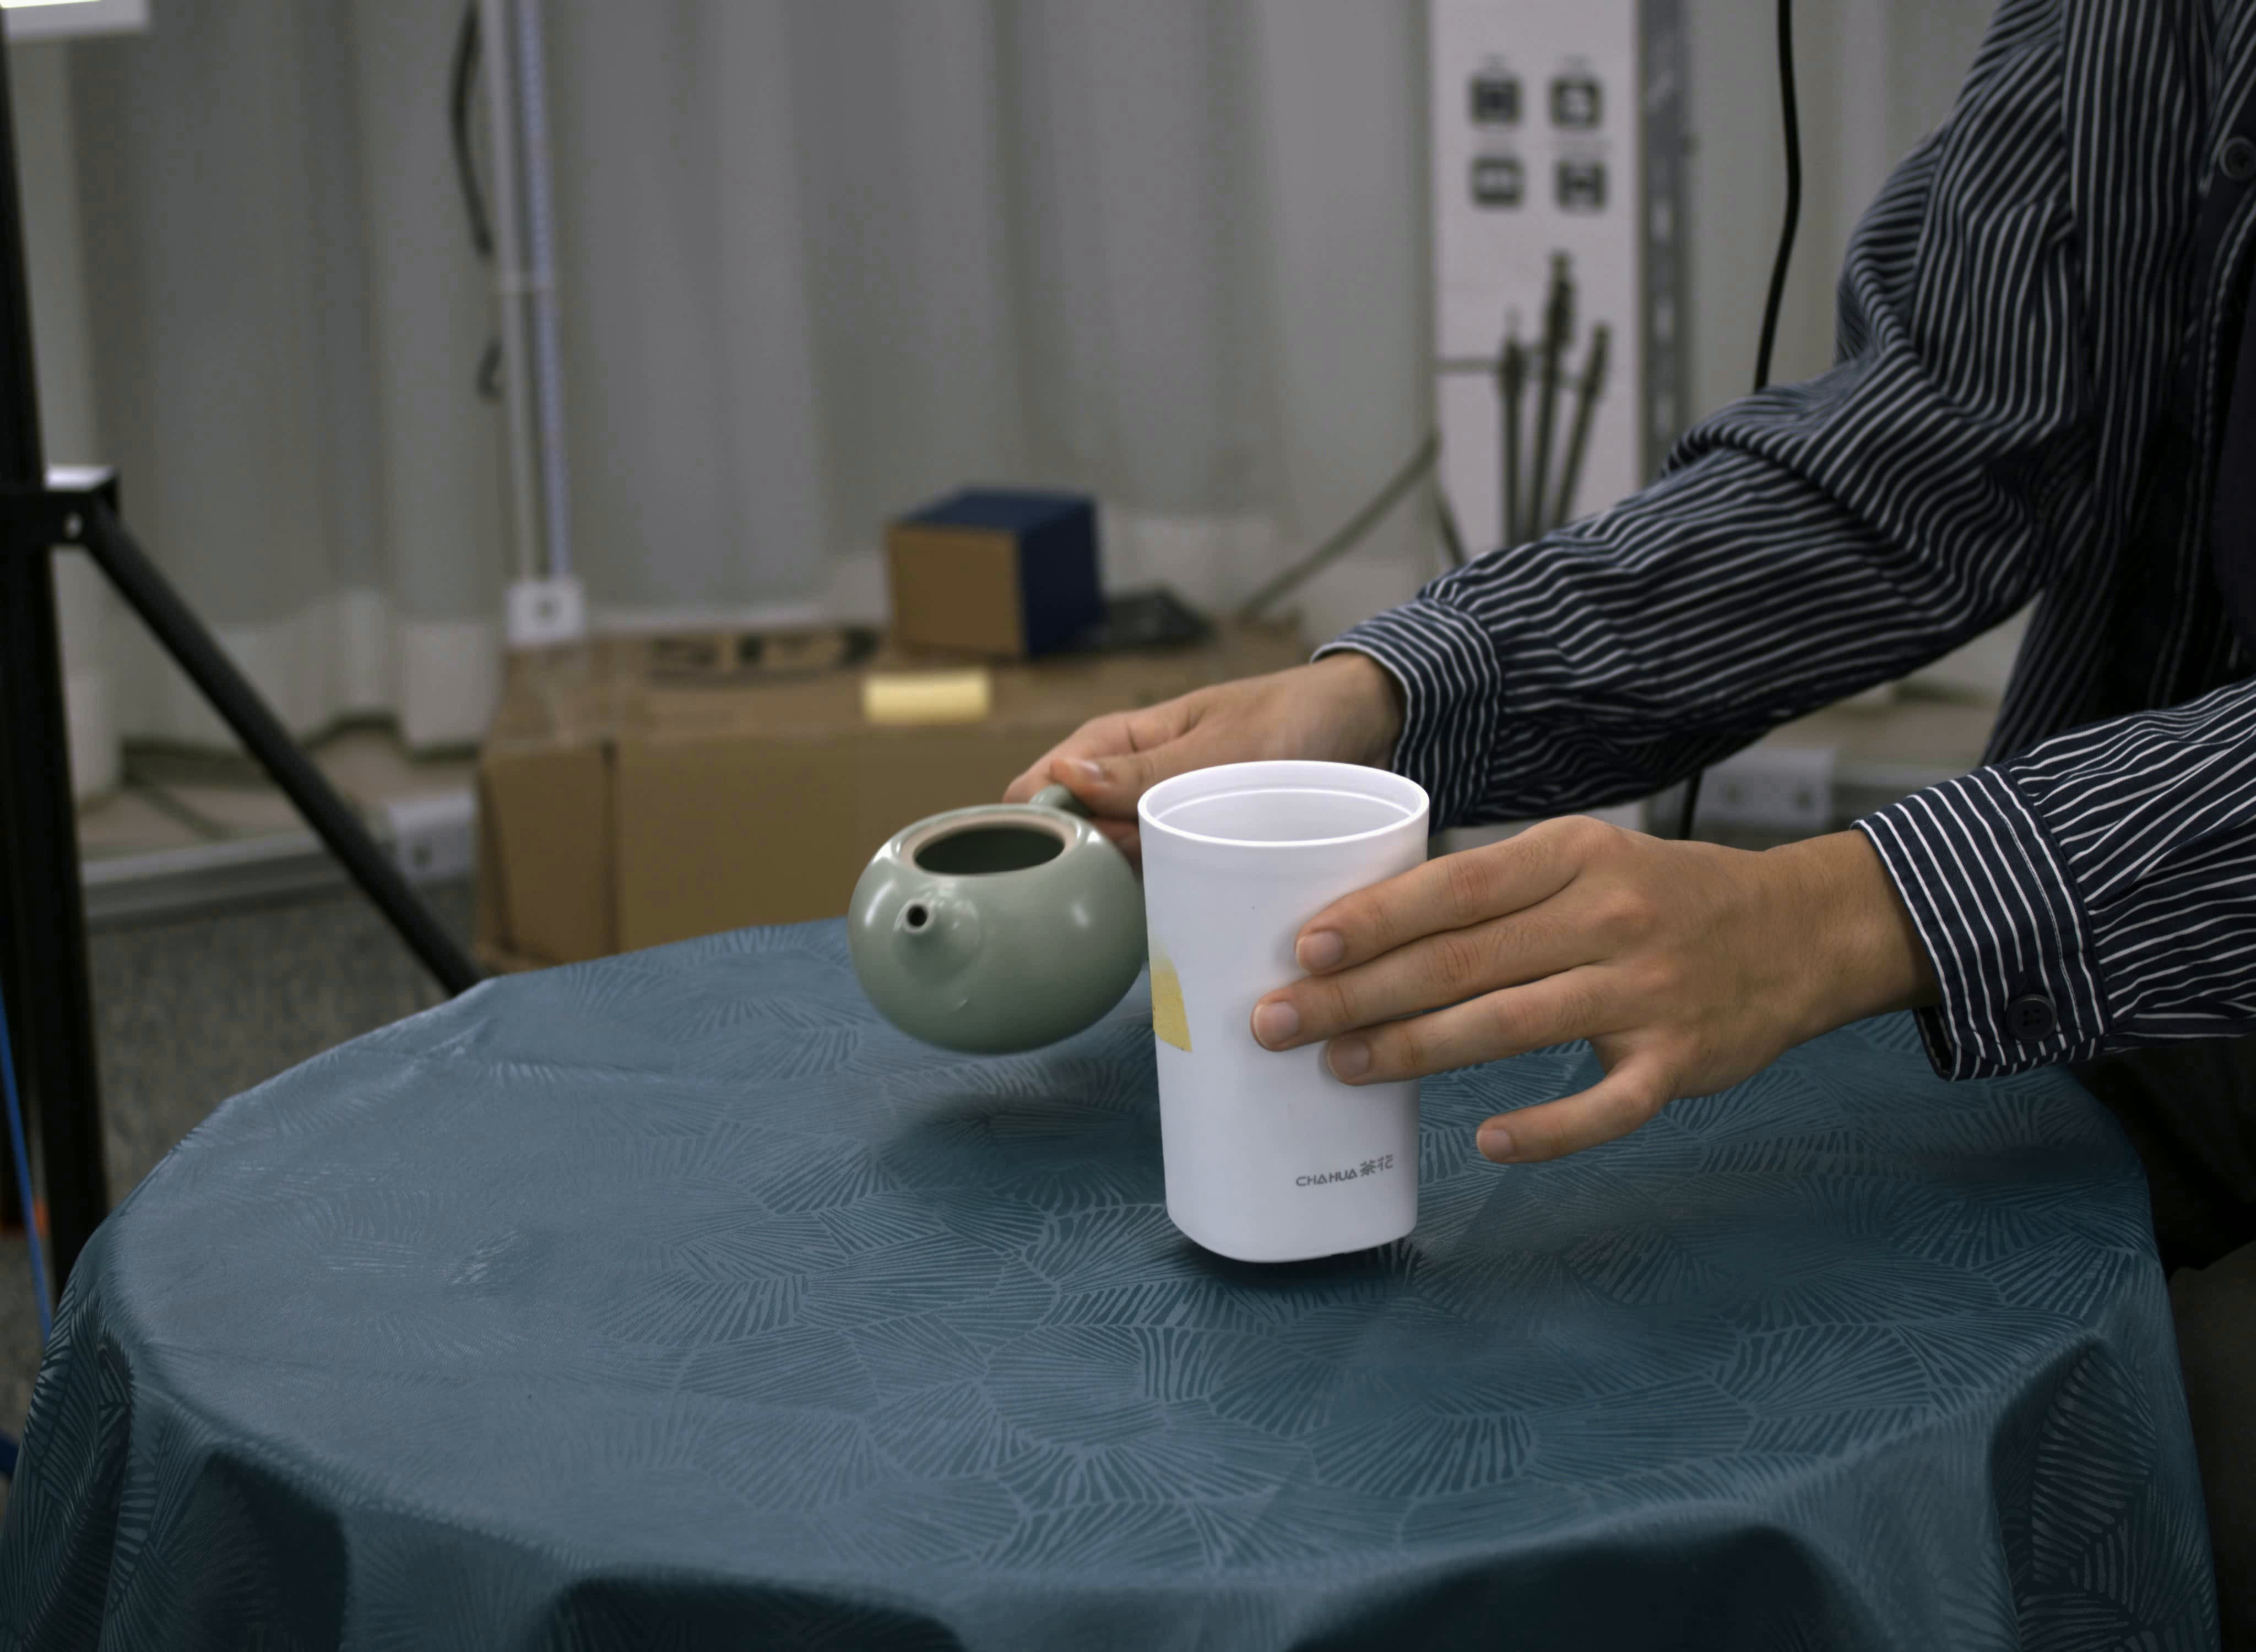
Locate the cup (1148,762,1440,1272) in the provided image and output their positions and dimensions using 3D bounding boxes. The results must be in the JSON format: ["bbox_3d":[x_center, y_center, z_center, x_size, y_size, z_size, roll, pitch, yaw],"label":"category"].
[{"bbox_3d":[0.047,0.054,1.479,0.081,0.125,0.082,-2,17,-1],"label":"cup"}]

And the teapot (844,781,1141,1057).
[{"bbox_3d":[-0.037,0.029,1.636,0.093,0.061,0.126,4,24,30],"label":"teapot"}]
